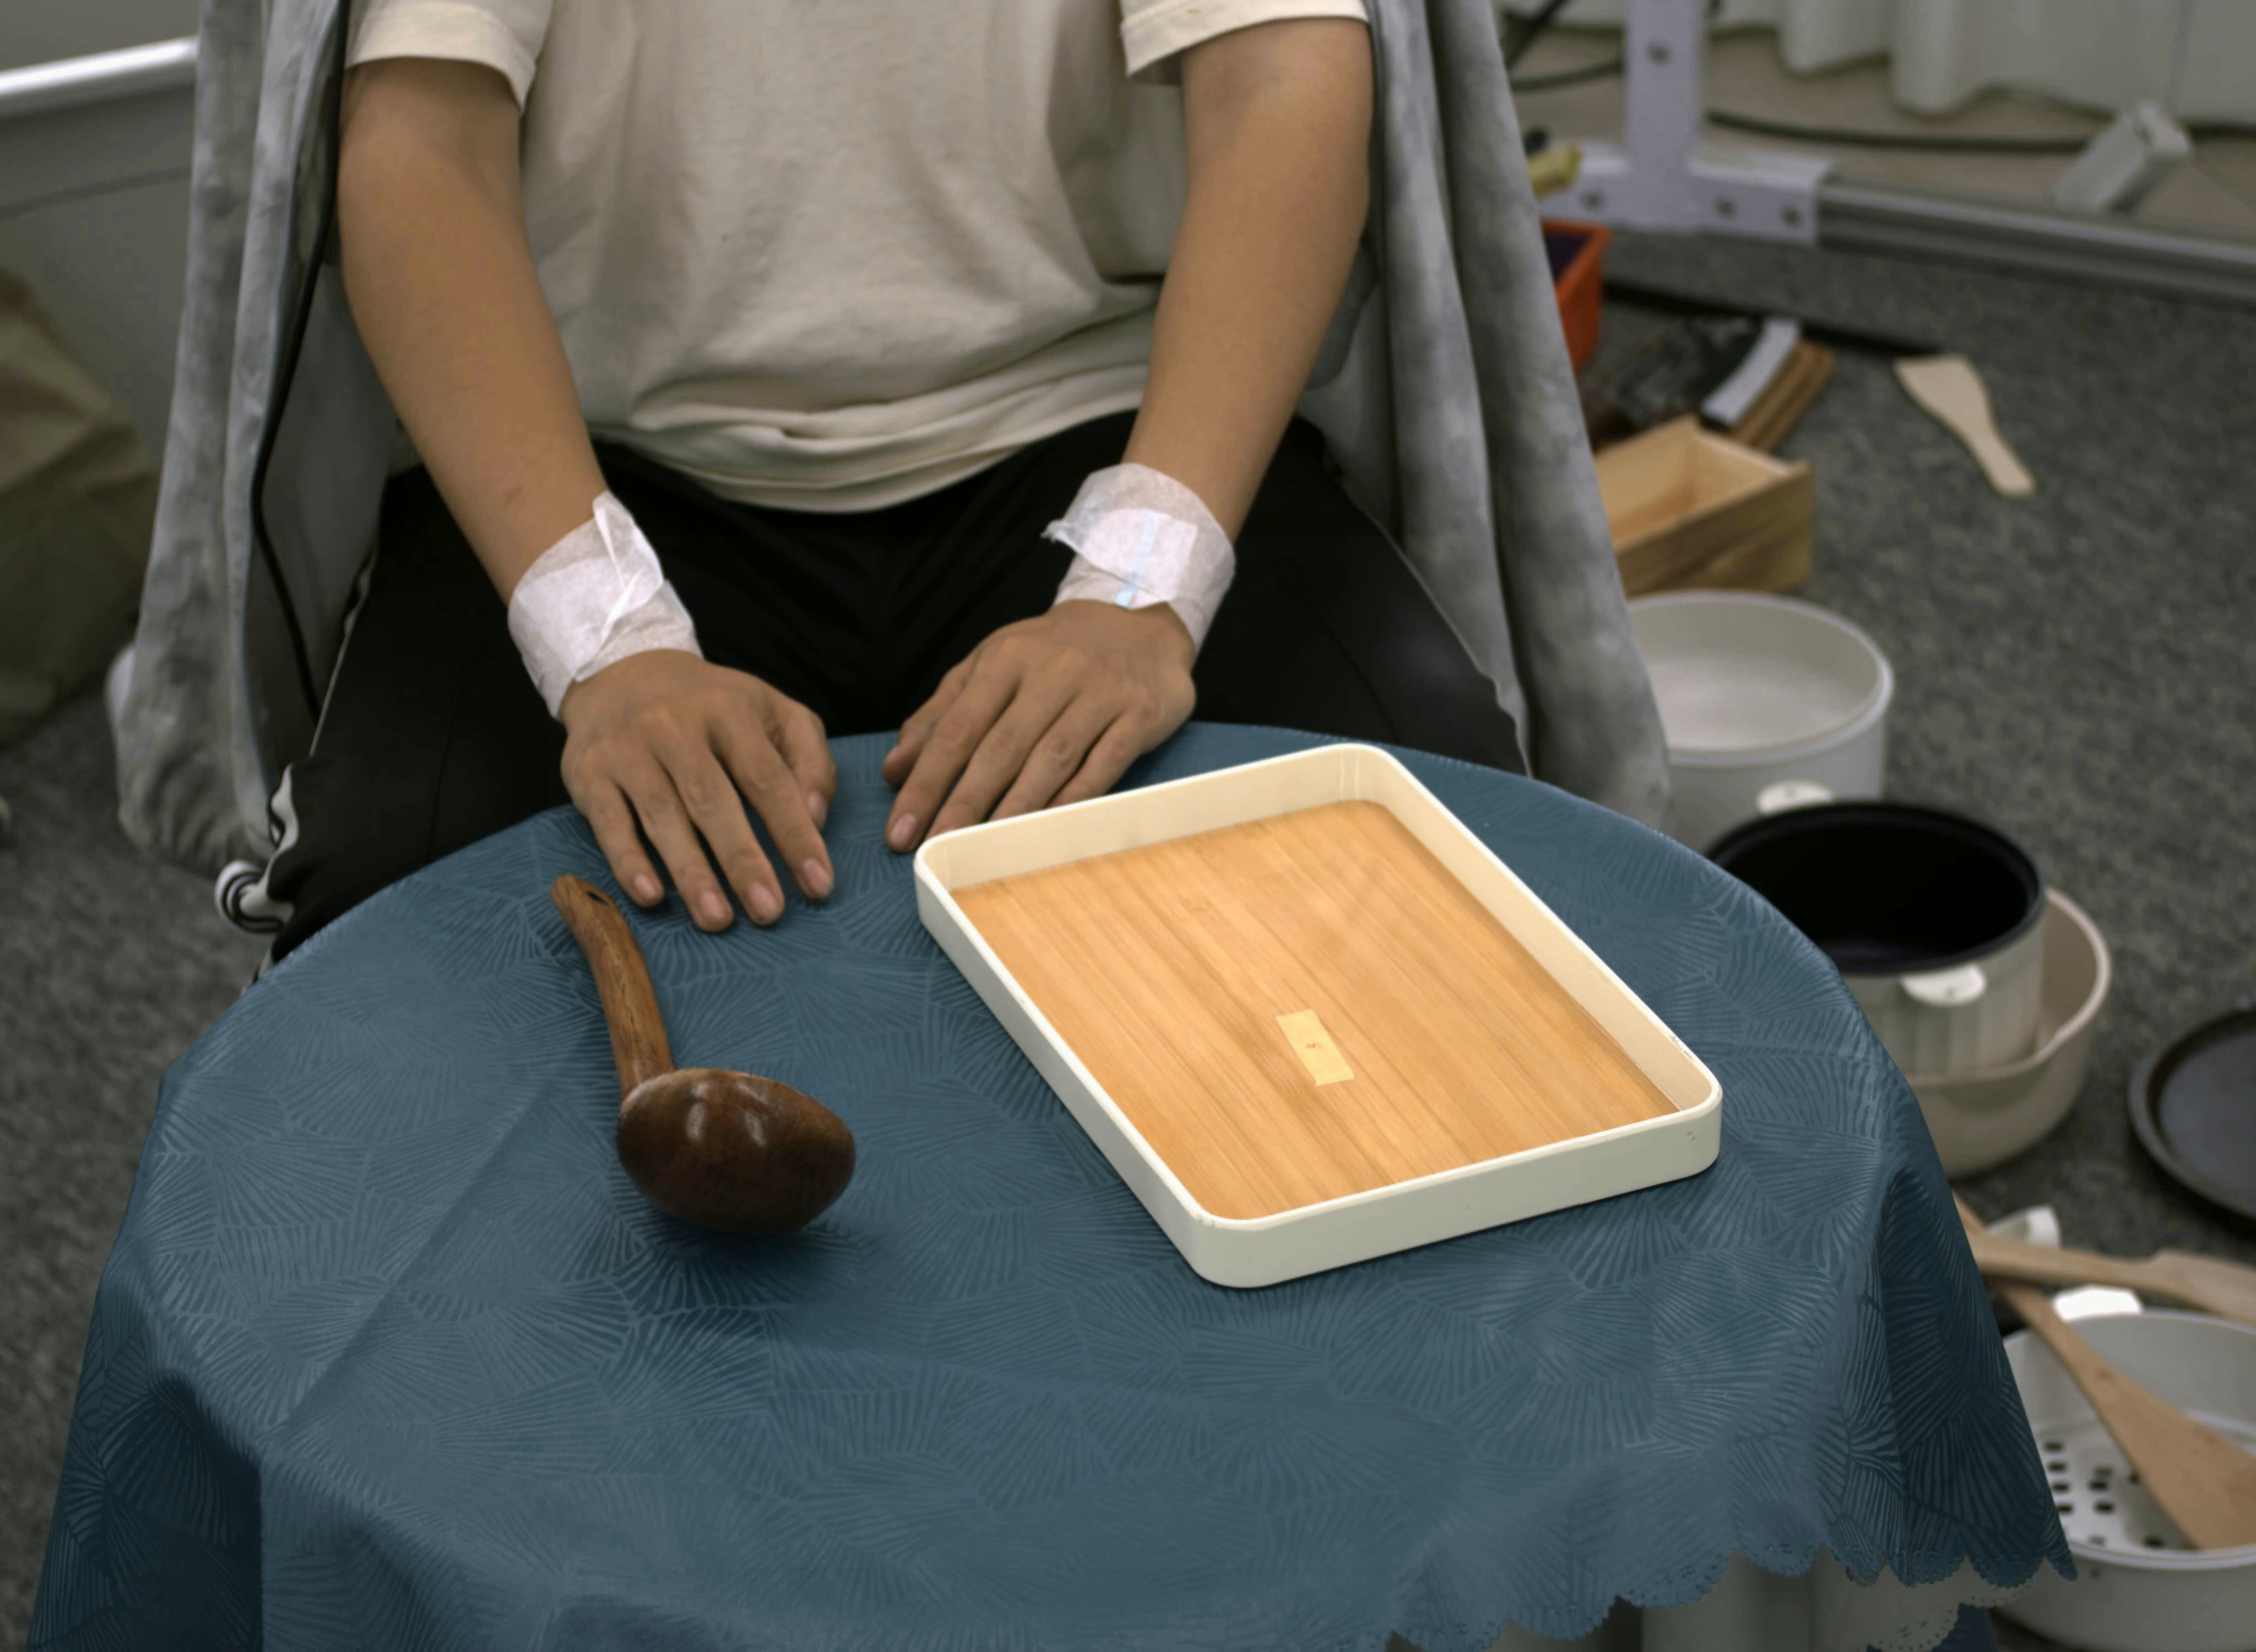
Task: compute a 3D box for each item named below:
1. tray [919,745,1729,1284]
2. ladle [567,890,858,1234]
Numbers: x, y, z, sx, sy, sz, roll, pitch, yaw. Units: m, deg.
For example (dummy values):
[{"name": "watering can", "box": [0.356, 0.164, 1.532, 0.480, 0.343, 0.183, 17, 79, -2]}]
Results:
[{"name": "tray", "box": [0.062, 0.060, 1.945, 0.192, 0.027, 0.302, -12, 29, -18]}, {"name": "ladle", "box": [-0.152, 0.061, 1.919, 0.081, 0.076, 0.277, 32, 14, -24]}]
